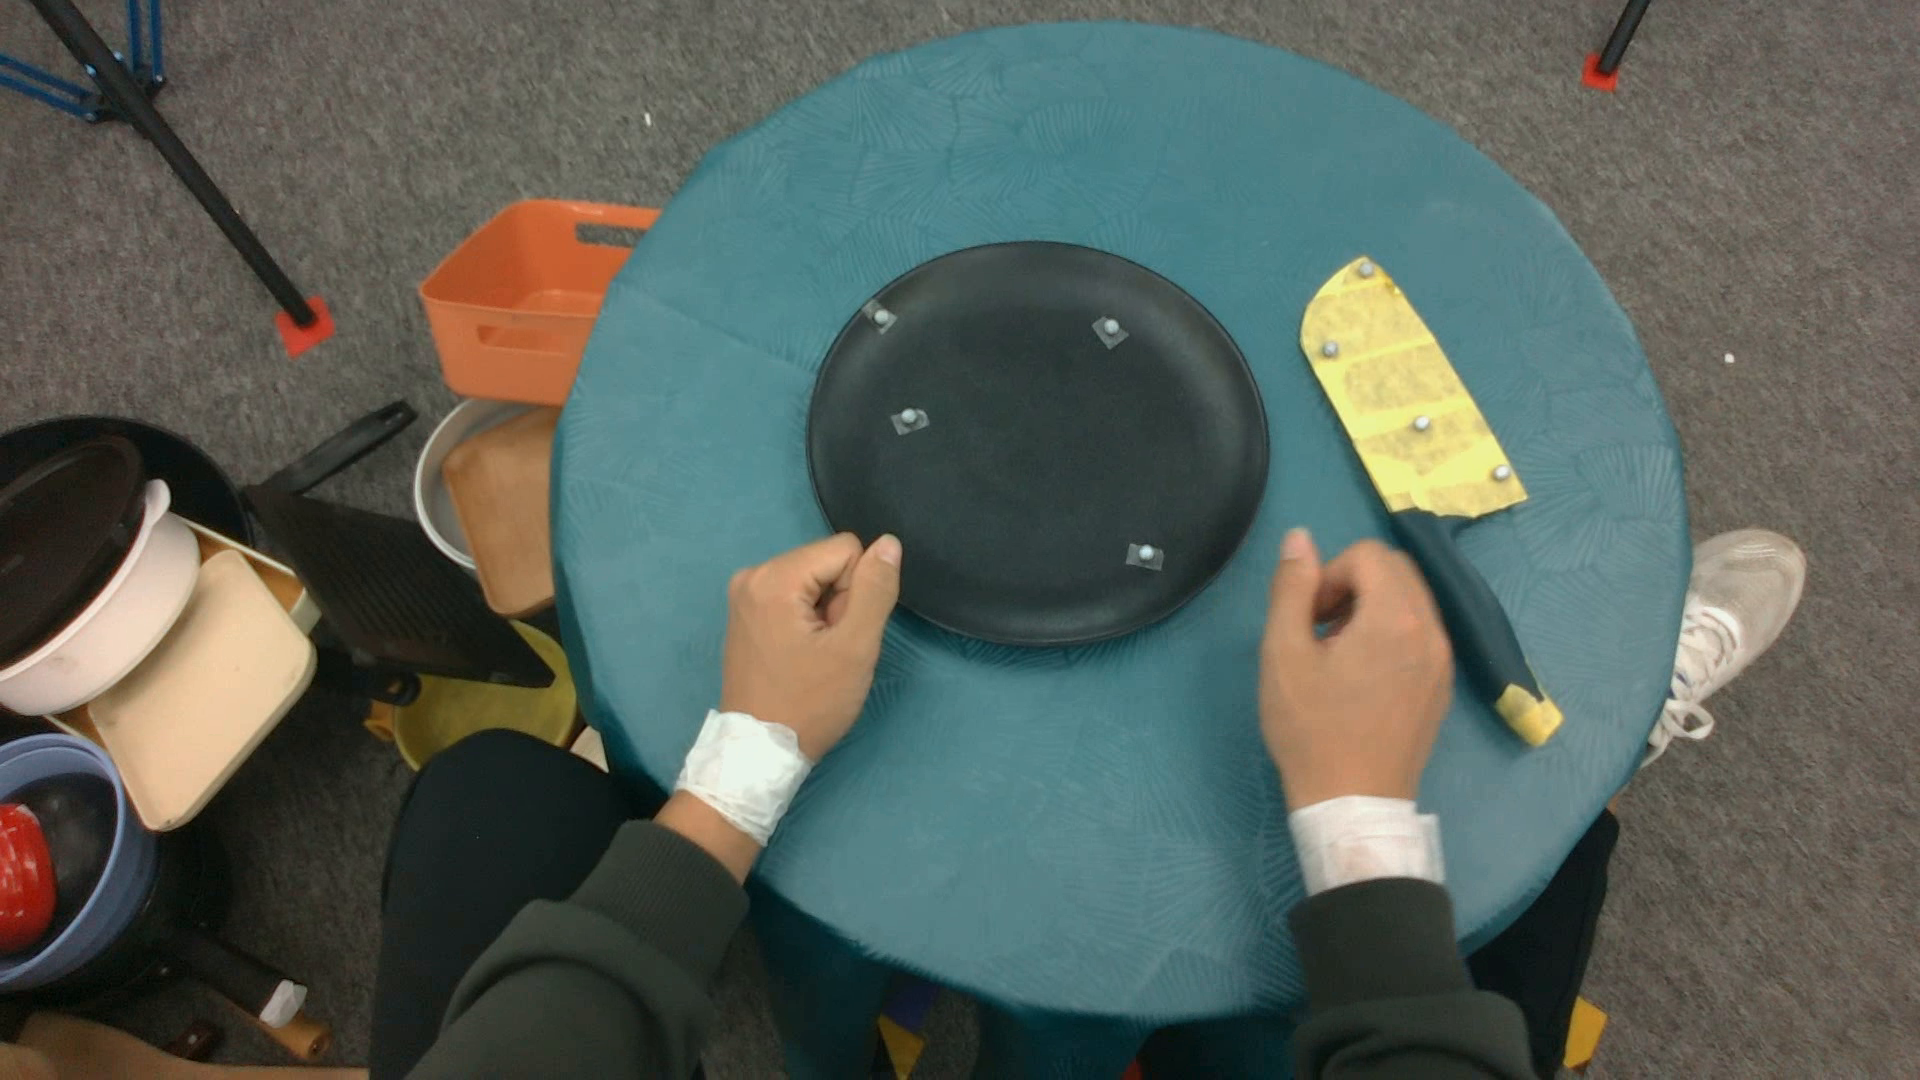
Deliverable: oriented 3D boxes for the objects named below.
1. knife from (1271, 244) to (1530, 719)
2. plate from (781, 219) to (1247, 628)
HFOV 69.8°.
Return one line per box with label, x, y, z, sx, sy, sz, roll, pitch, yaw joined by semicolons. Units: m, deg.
knife;0.239;-0.043;0.729;0.081;0.027;0.290;-14;66;-7
plate;0.029;-0.066;0.727;0.244;0.023;0.245;1;65;-2
